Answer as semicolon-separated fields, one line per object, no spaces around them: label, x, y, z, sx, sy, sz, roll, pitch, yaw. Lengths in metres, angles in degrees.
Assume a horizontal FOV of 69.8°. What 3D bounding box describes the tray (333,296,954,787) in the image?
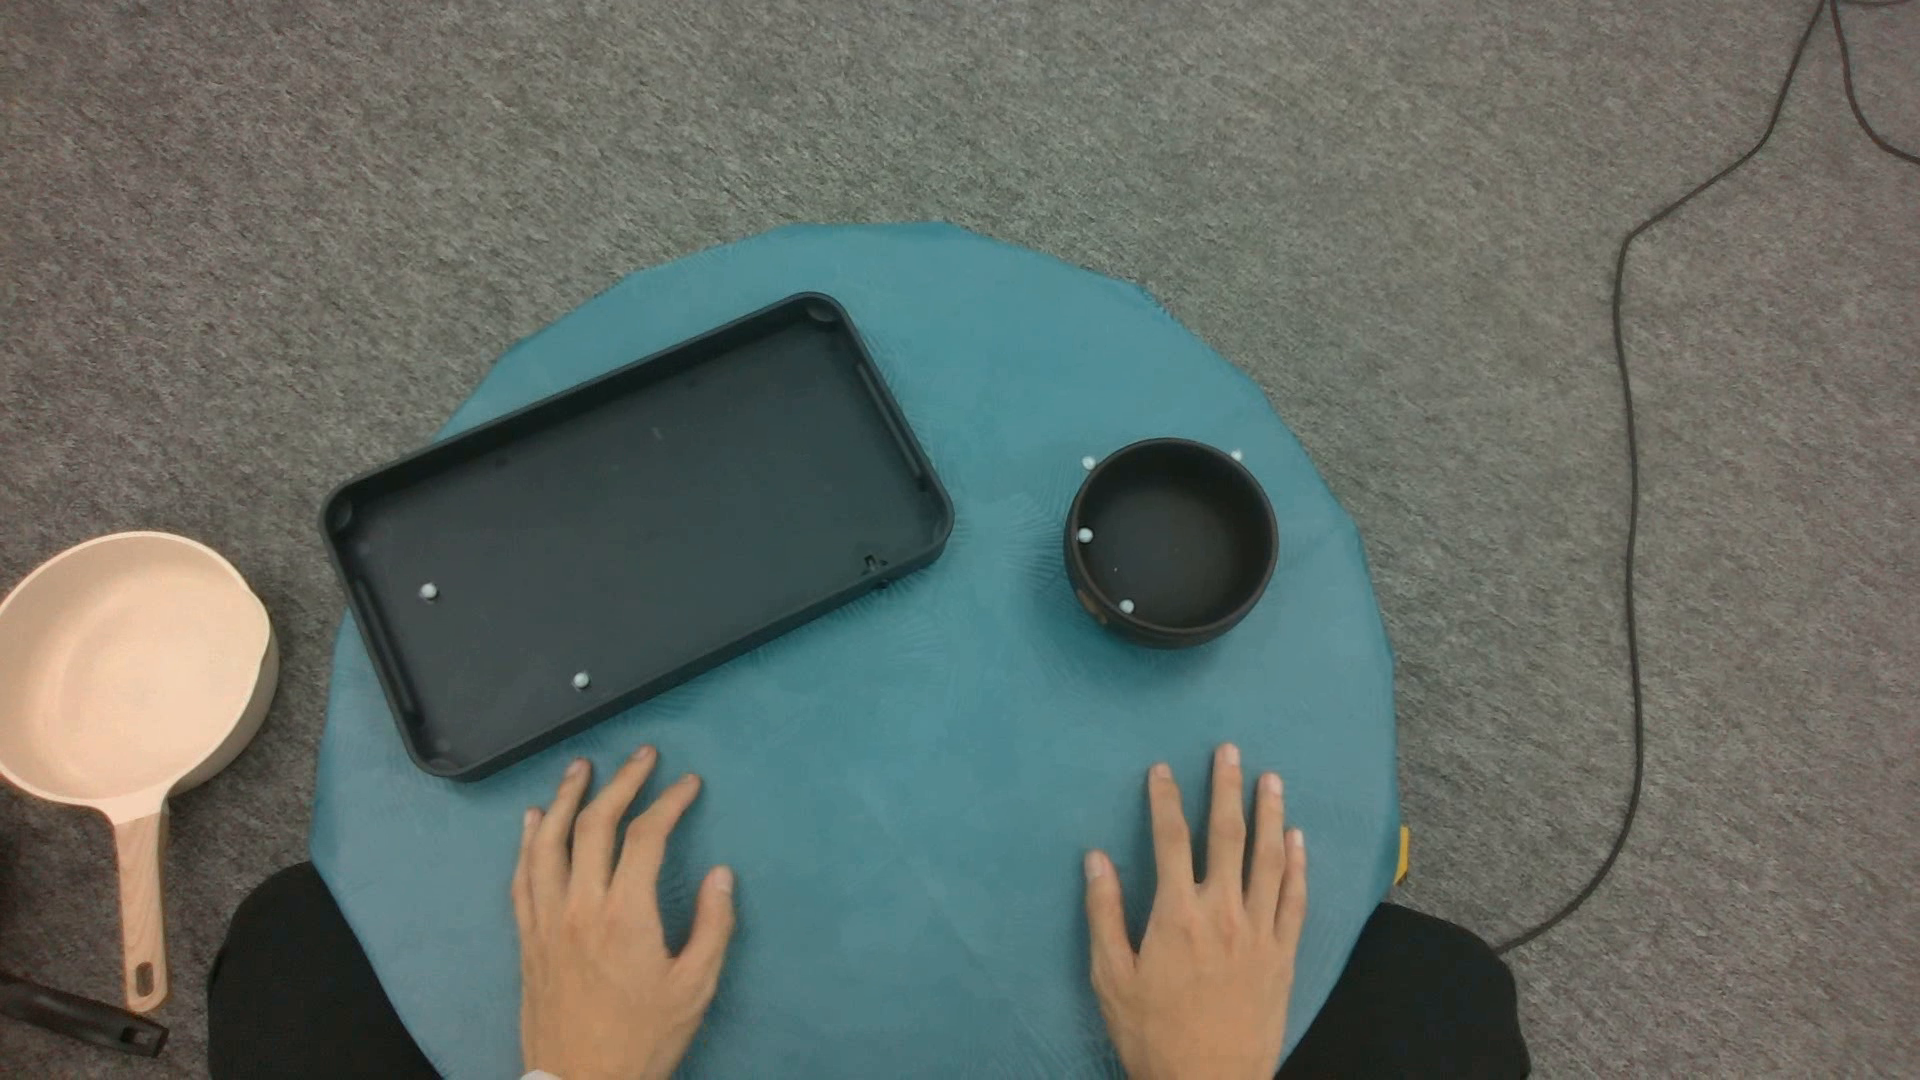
tray;-0.178;-0.005;0.798;0.318;0.037;0.184;-27;74;-12

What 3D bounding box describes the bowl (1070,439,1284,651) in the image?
bowl;0.120;0.008;0.788;0.118;0.069;0.118;1;71;-3
